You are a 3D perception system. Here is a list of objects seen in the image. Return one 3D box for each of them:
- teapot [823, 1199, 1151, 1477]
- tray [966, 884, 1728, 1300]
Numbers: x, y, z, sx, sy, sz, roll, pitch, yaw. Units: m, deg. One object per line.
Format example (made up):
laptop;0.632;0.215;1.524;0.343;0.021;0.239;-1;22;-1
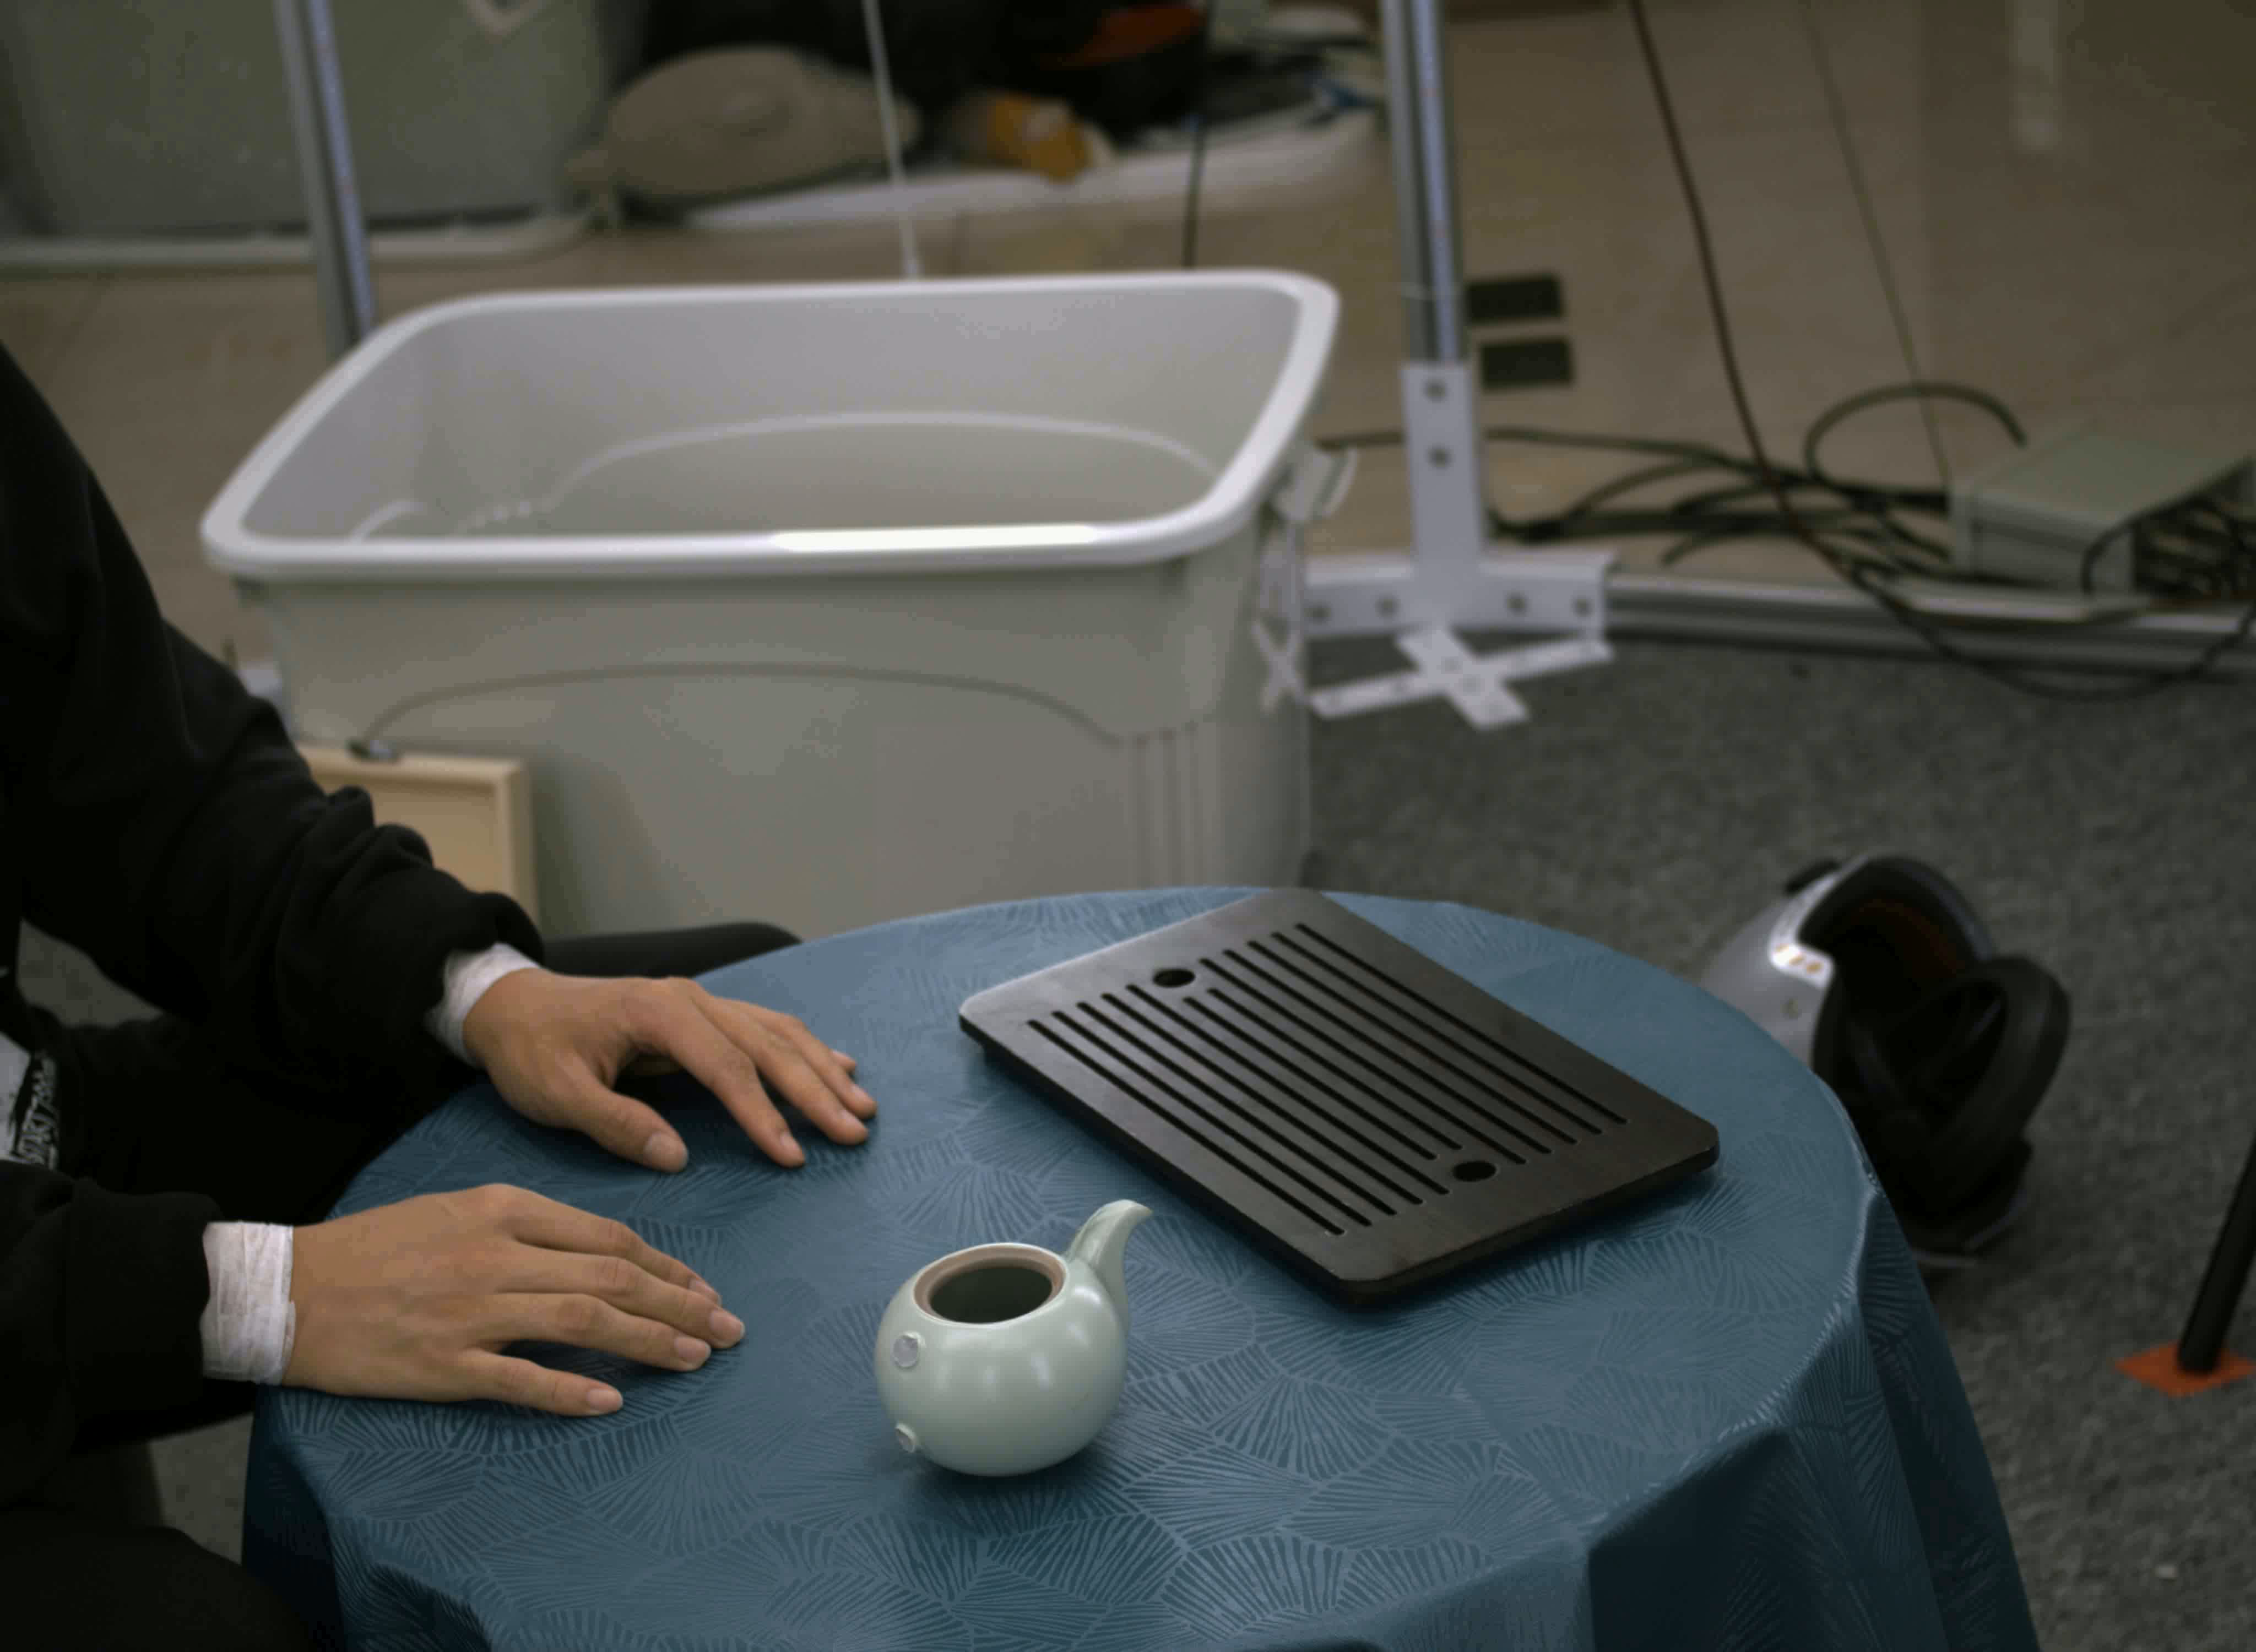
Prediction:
teapot;-0.046;0.185;1.976;0.143;0.076;0.087;-21;29;-32
tray;0.080;0.100;2.194;0.169;0.019;0.302;-19;28;-25
